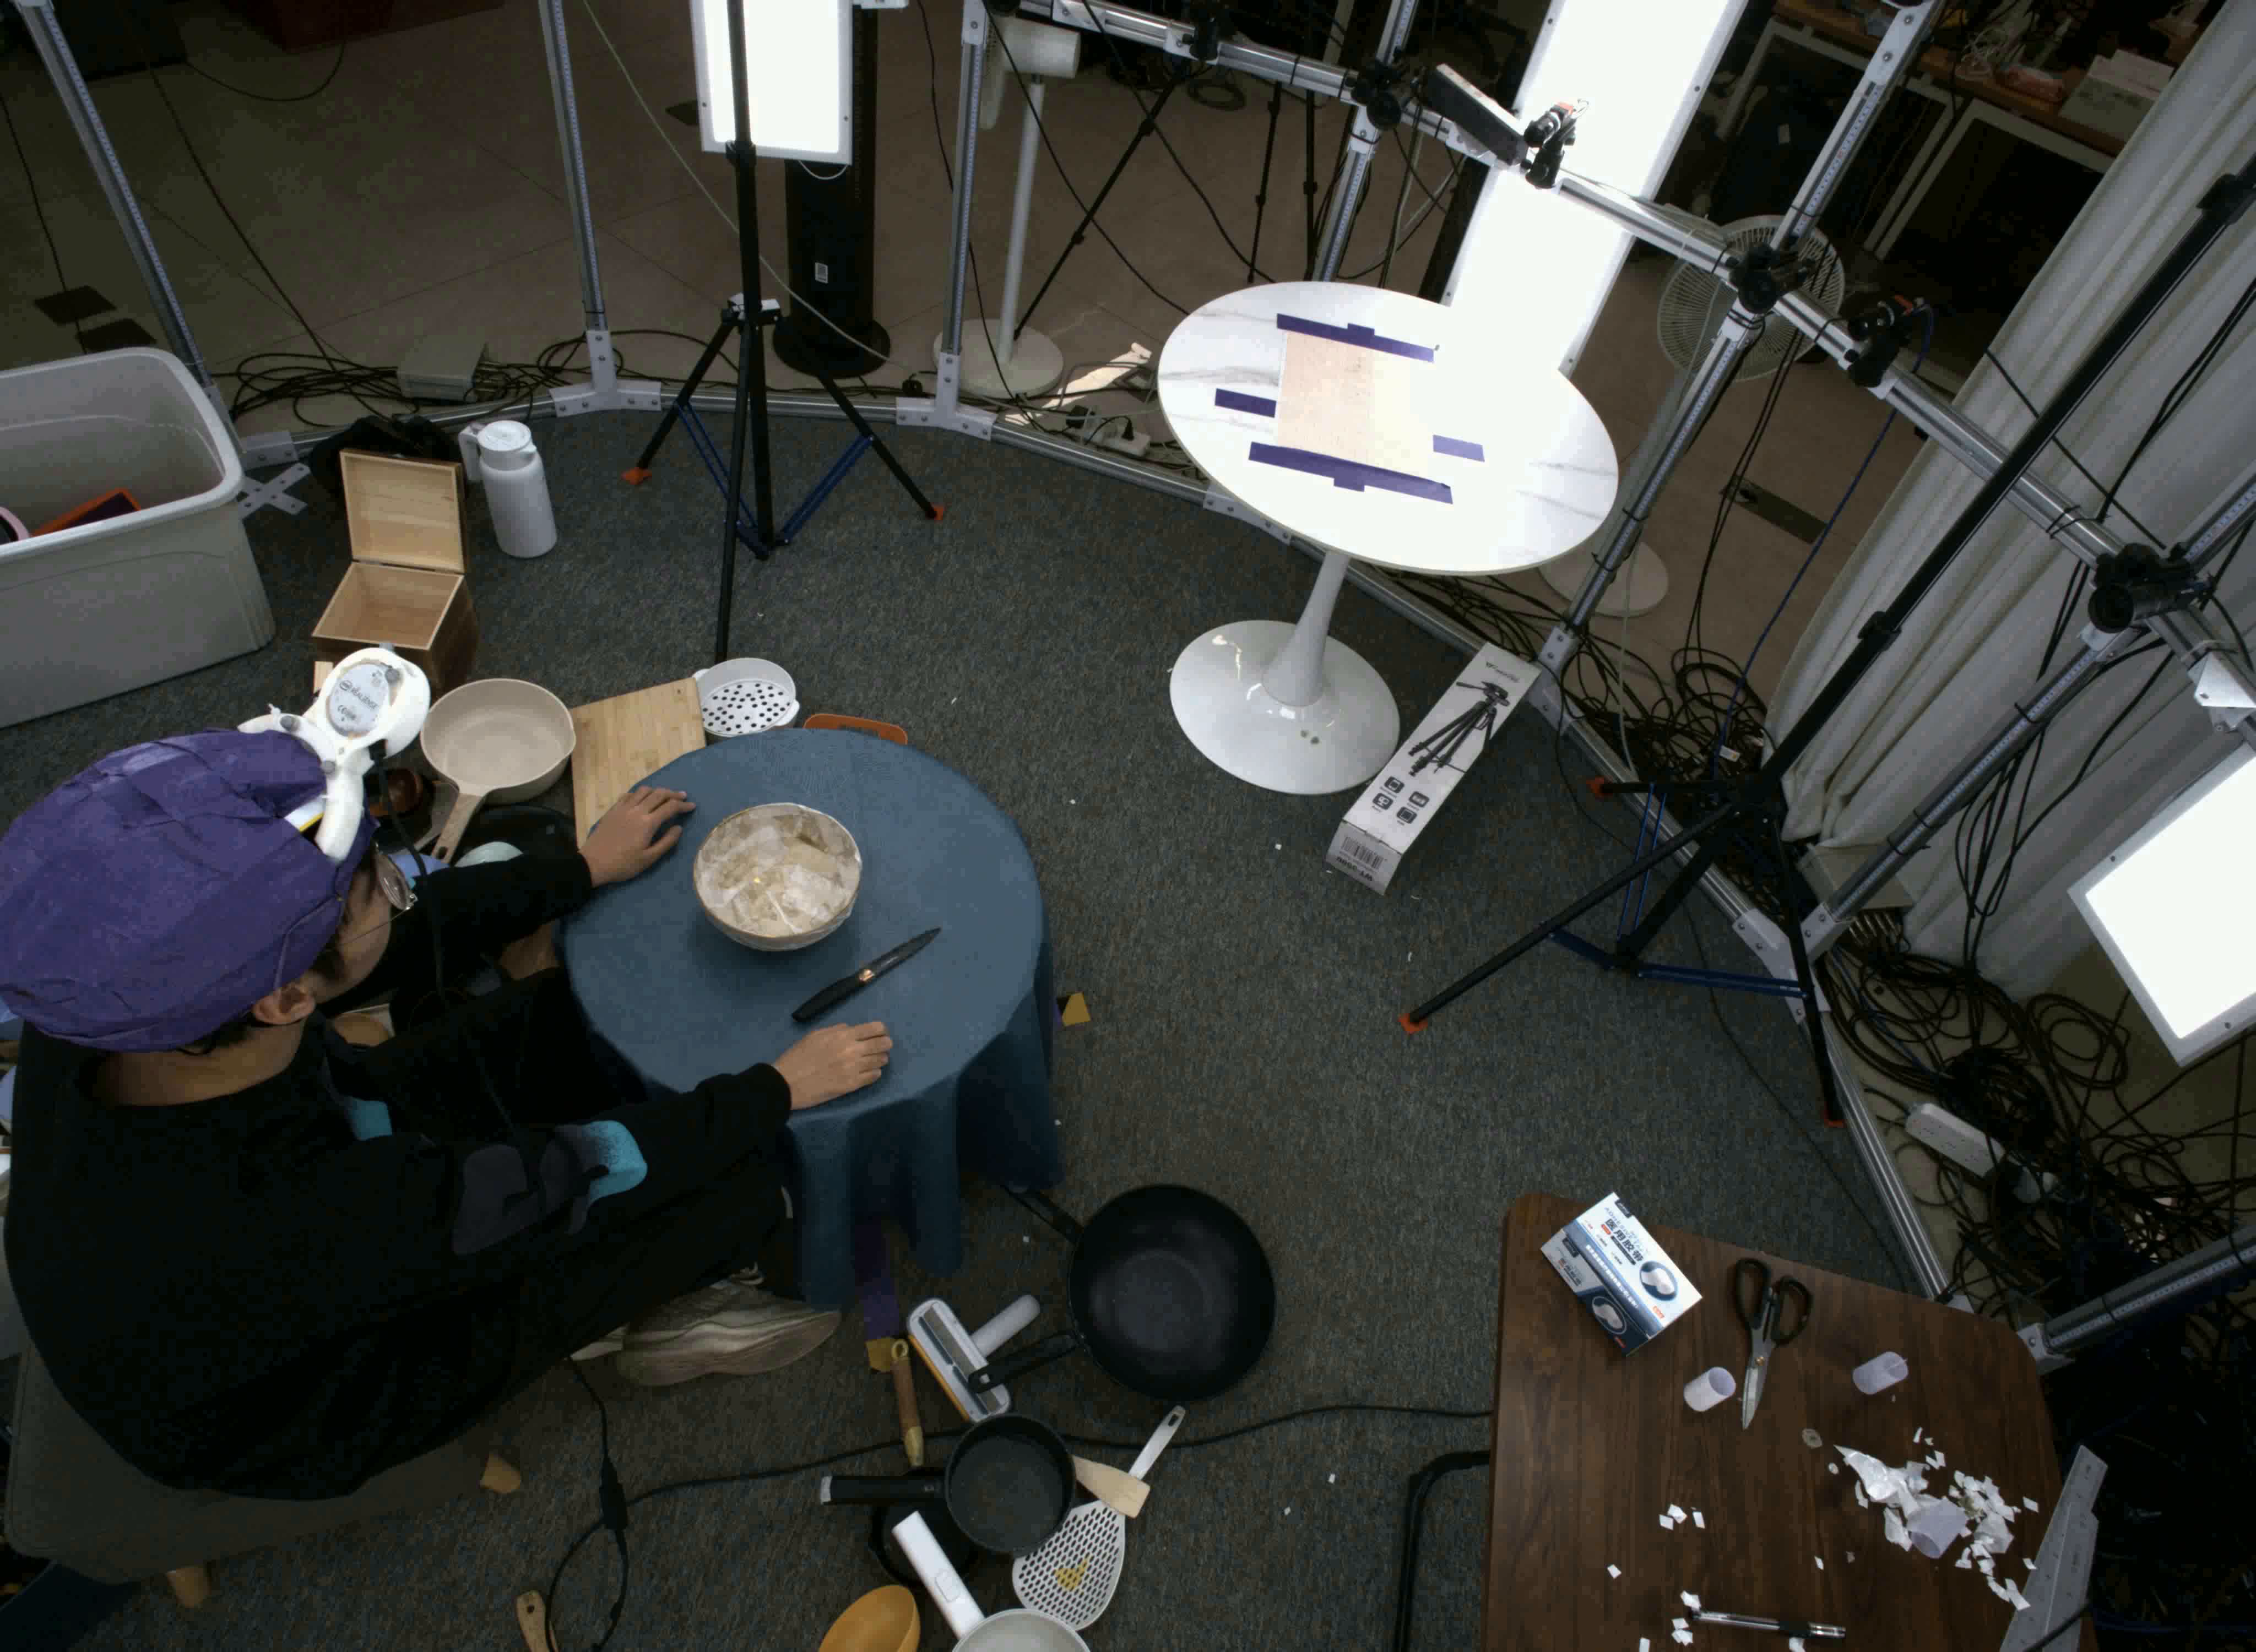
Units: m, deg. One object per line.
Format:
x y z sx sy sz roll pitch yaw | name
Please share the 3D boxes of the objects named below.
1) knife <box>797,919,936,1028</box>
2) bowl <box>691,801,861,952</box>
-0.318 0.177 1.603 0.025 0.018 0.226 36 51 24 | knife
-0.434 0.076 1.592 0.214 0.096 0.211 9 53 -10 | bowl
